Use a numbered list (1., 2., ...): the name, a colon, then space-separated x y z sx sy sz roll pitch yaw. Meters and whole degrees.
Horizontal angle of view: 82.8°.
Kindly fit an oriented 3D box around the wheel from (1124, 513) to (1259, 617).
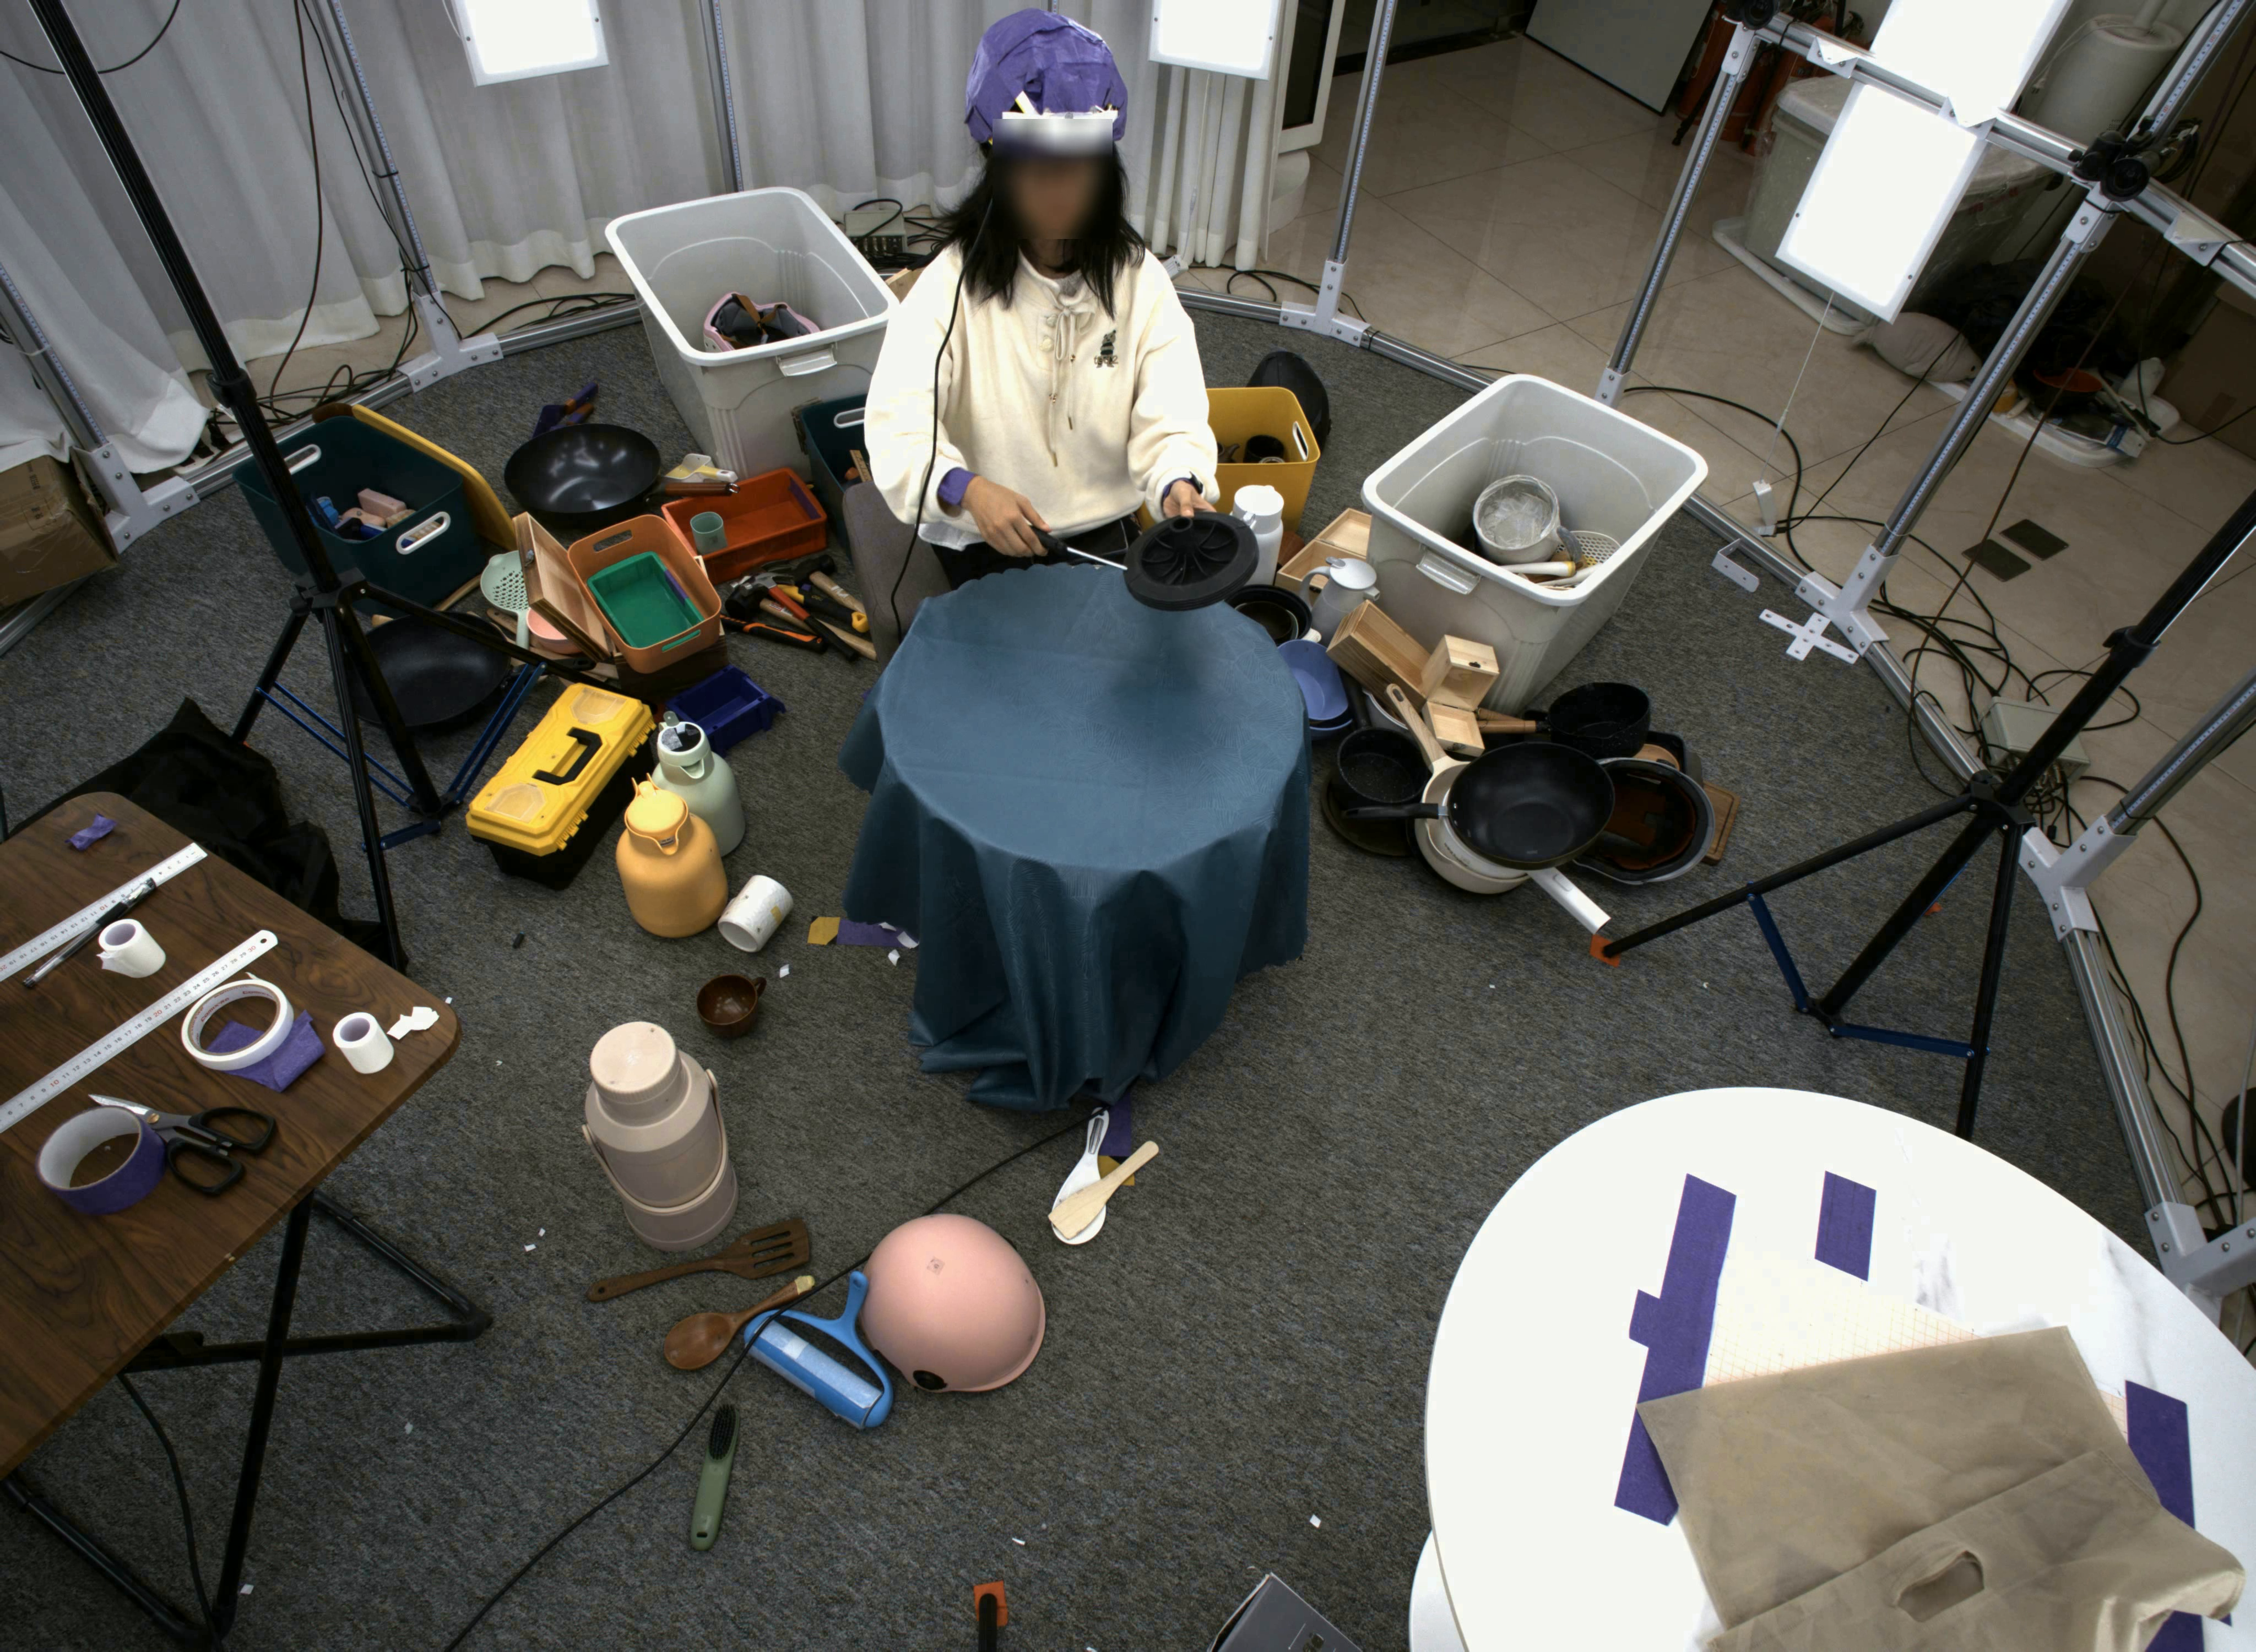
1. wheel: 0.080 -0.373 1.746 0.188 0.077 0.194 0 52 19

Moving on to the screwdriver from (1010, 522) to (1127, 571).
1. screwdriver: -0.082 -0.390 1.798 0.198 0.030 0.032 22 50 27
